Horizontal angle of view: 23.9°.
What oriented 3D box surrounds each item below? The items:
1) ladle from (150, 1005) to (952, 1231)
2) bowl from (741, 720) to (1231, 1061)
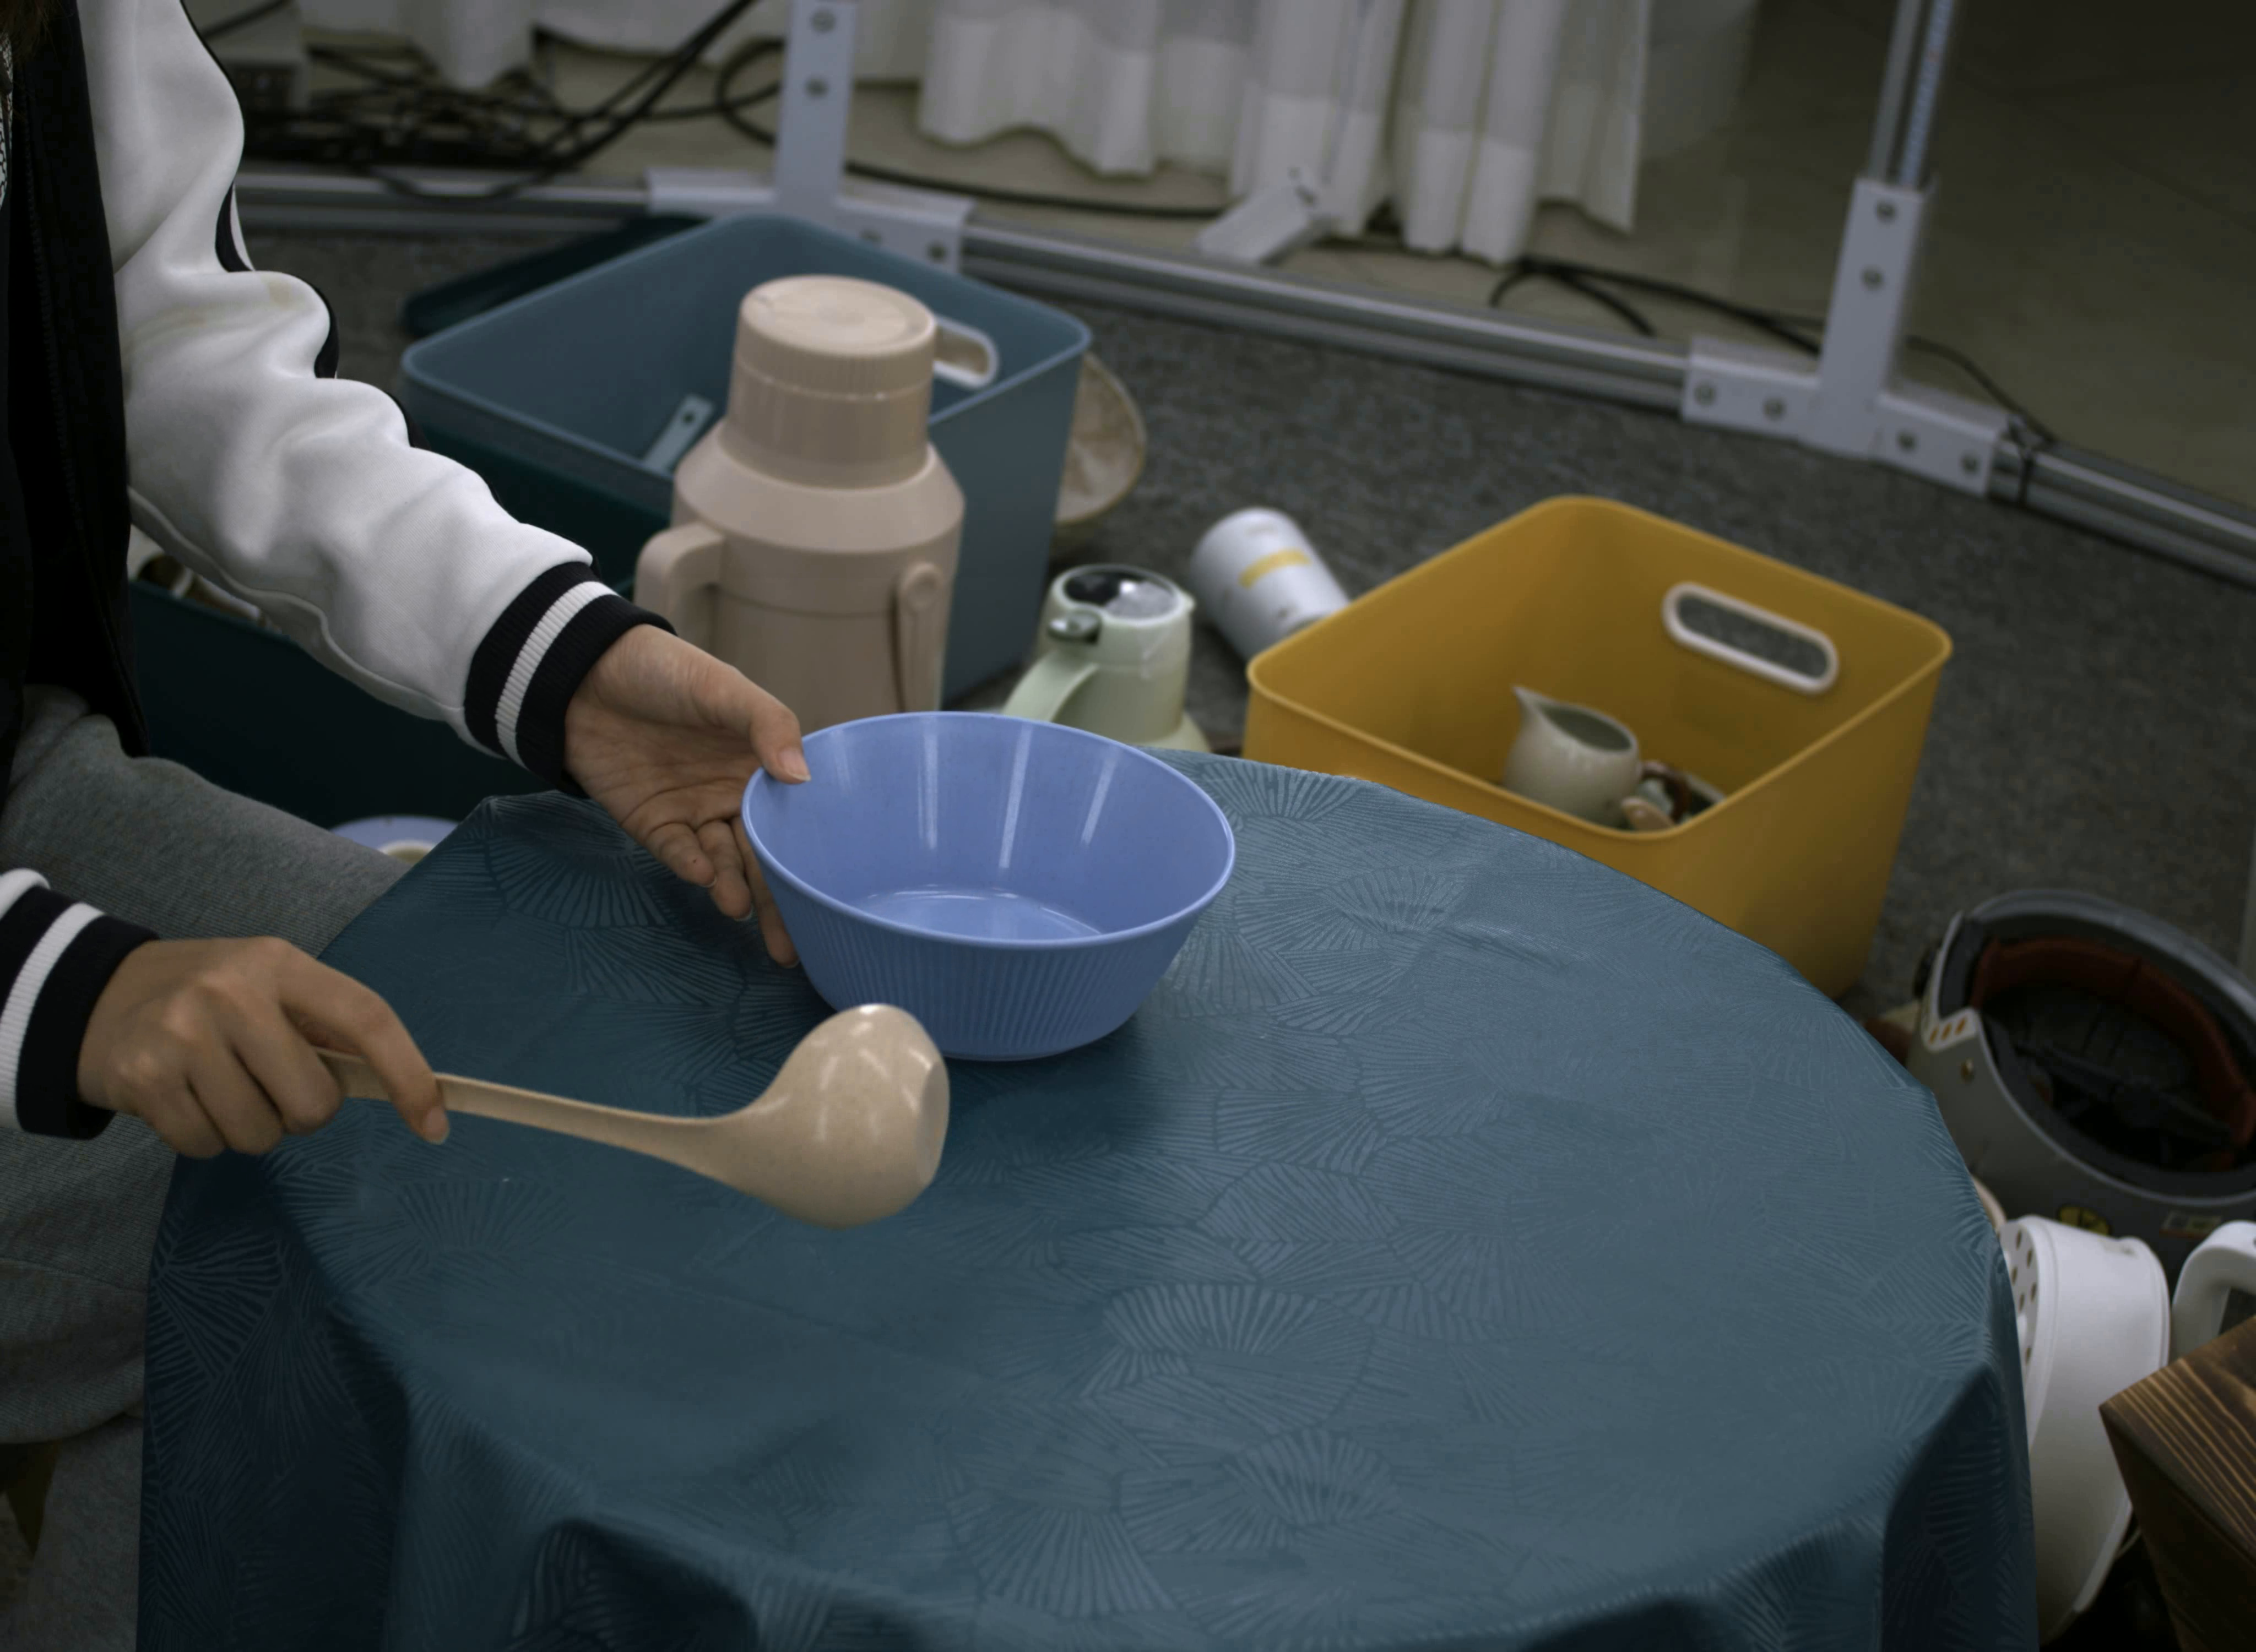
[{"bbox_3d":[-0.179,0.073,1.680,0.255,0.072,0.073,10,26,17],"label":"ladle"},{"bbox_3d":[-0.053,0.028,1.900,0.175,0.070,0.177,6,26,-3],"label":"bowl"}]
